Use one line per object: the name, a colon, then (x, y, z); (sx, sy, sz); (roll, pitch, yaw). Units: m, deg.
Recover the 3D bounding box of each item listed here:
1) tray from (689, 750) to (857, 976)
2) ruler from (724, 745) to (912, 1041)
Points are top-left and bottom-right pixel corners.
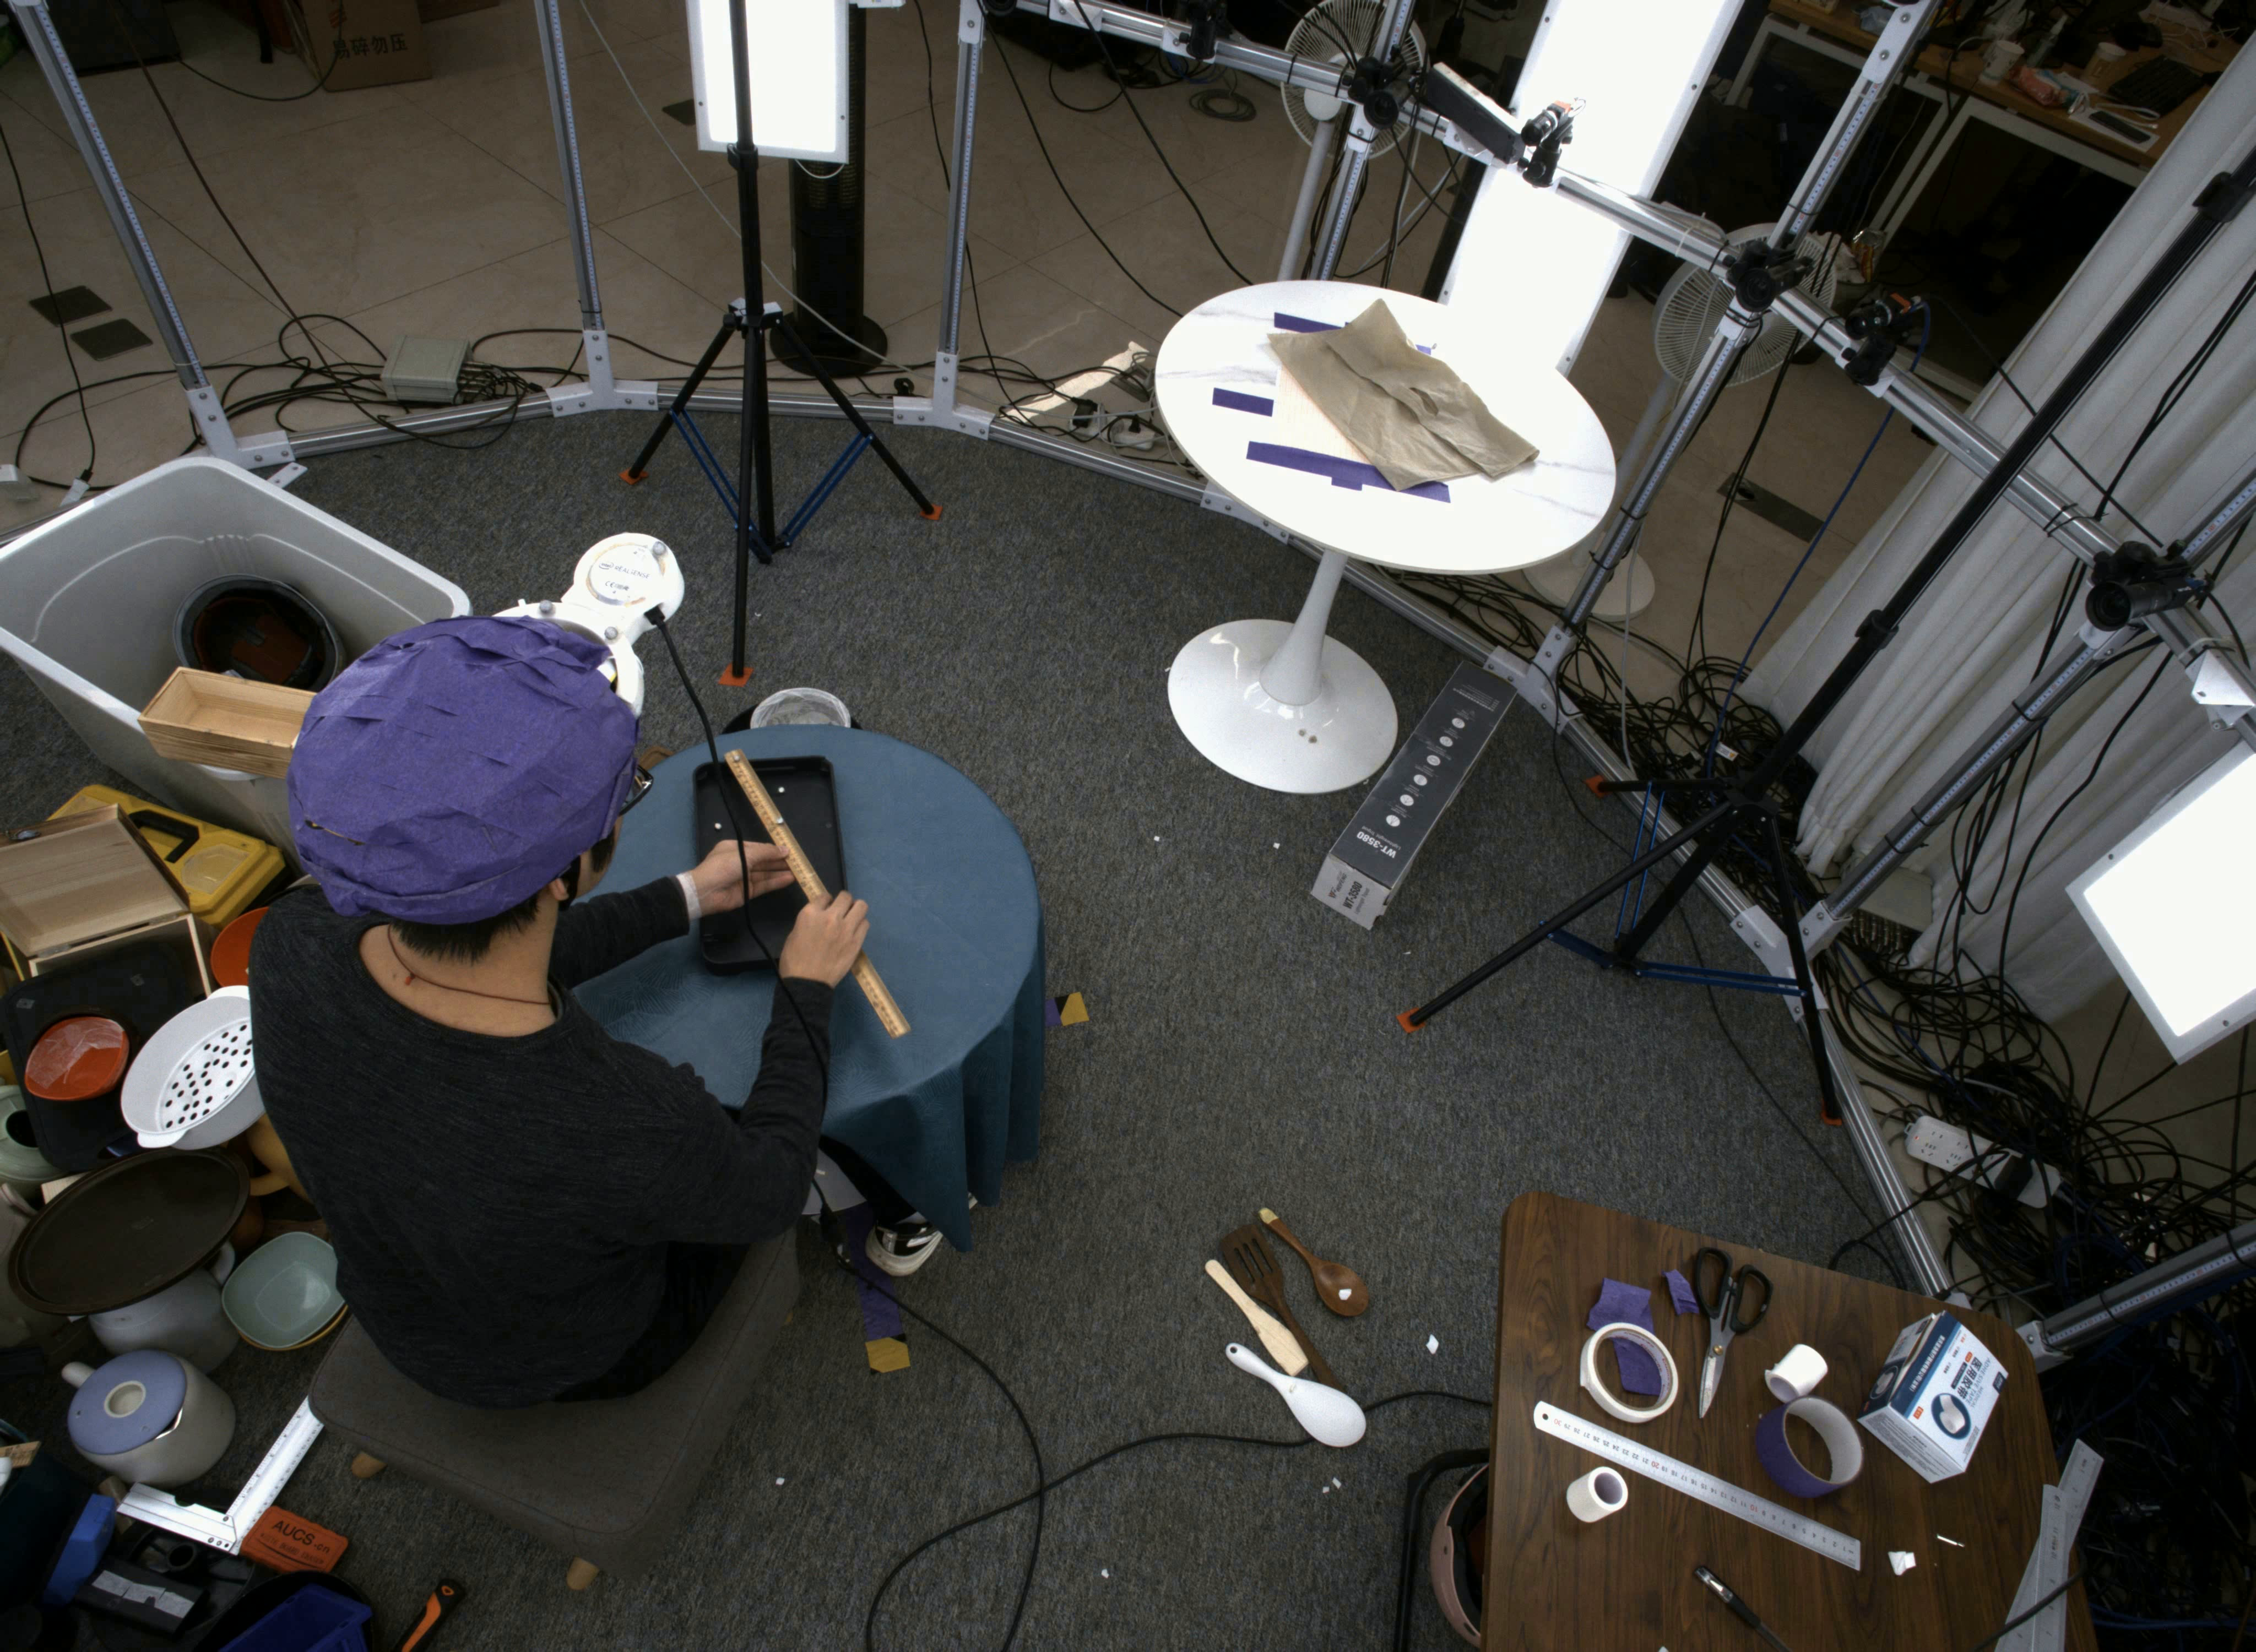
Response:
tray: (-0.458, 0.039, 1.658); (0.185, 0.038, 0.310); (-6, 56, -18)
ruler: (-0.390, 0.068, 1.591); (0.027, 0.006, 0.486); (-26, 60, -23)
